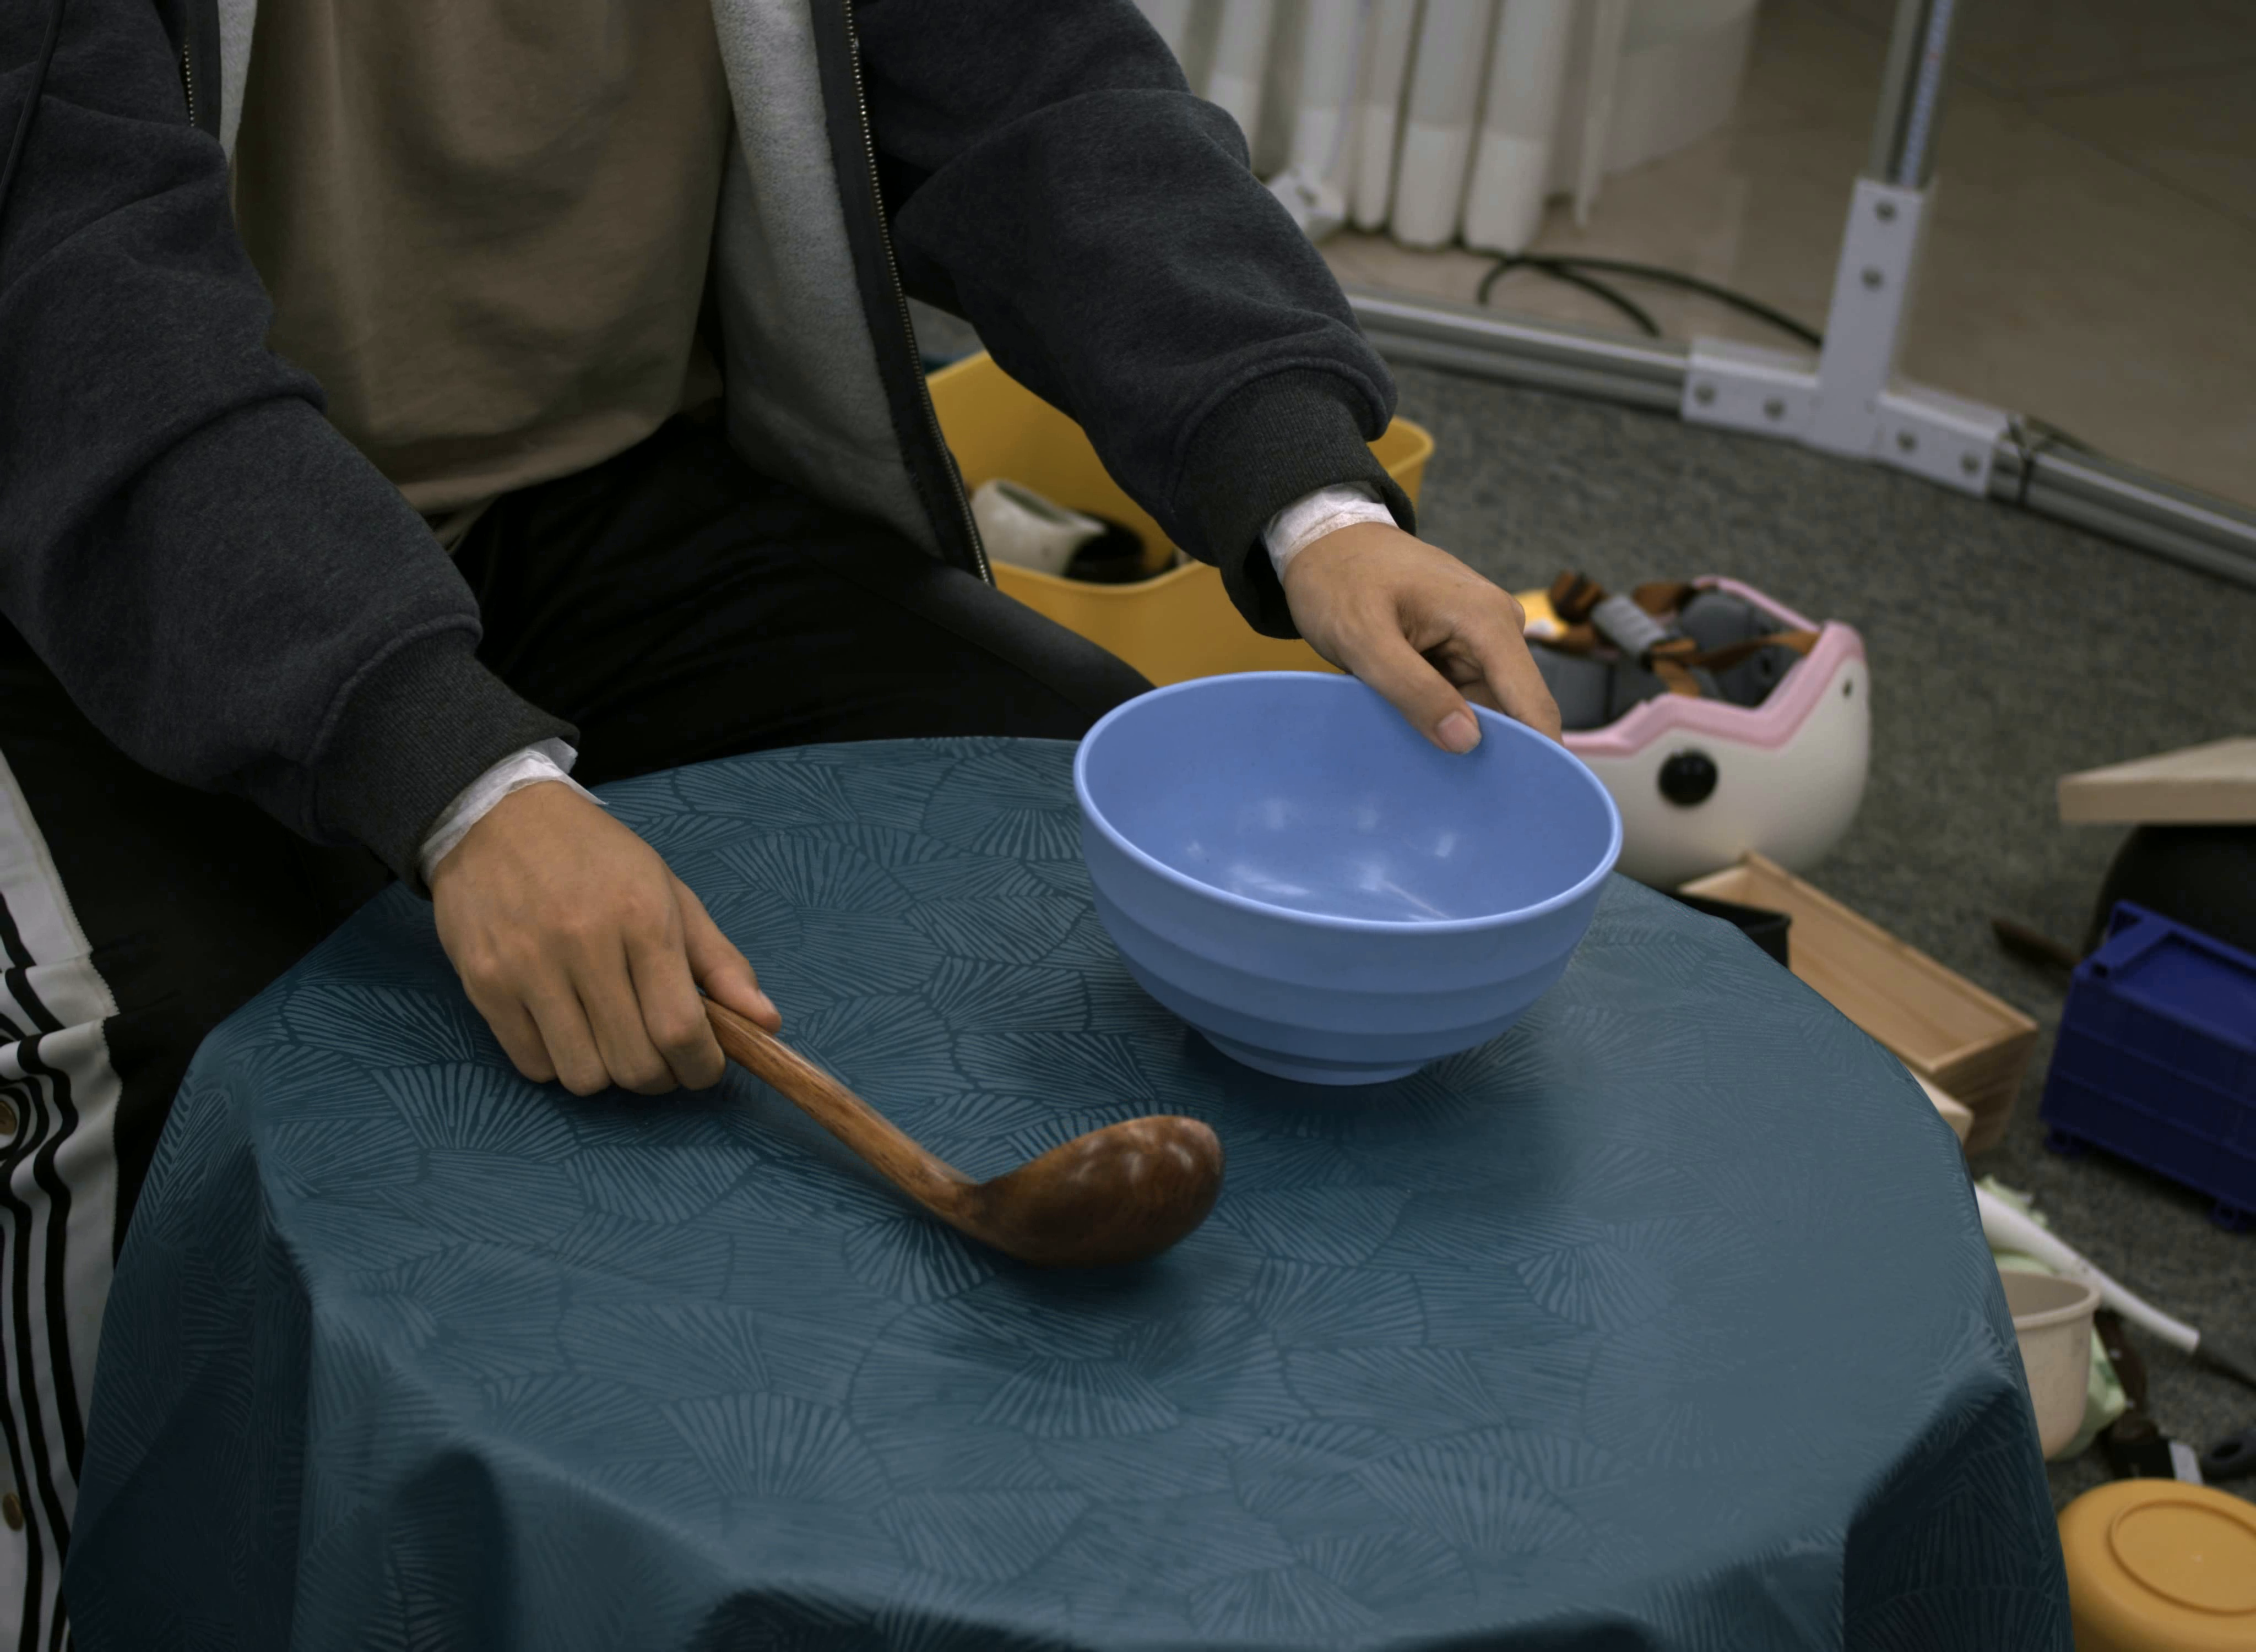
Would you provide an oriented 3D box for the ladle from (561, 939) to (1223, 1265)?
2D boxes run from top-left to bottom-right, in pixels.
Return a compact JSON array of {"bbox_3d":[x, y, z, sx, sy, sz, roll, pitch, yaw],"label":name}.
[{"bbox_3d":[-0.084,0.073,1.794,0.276,0.077,0.081,30,-1,36],"label":"ladle"}]

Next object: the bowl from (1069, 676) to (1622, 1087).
[{"bbox_3d":[0.073,0.030,1.899,0.196,0.095,0.197,4,27,-2],"label":"bowl"}]
